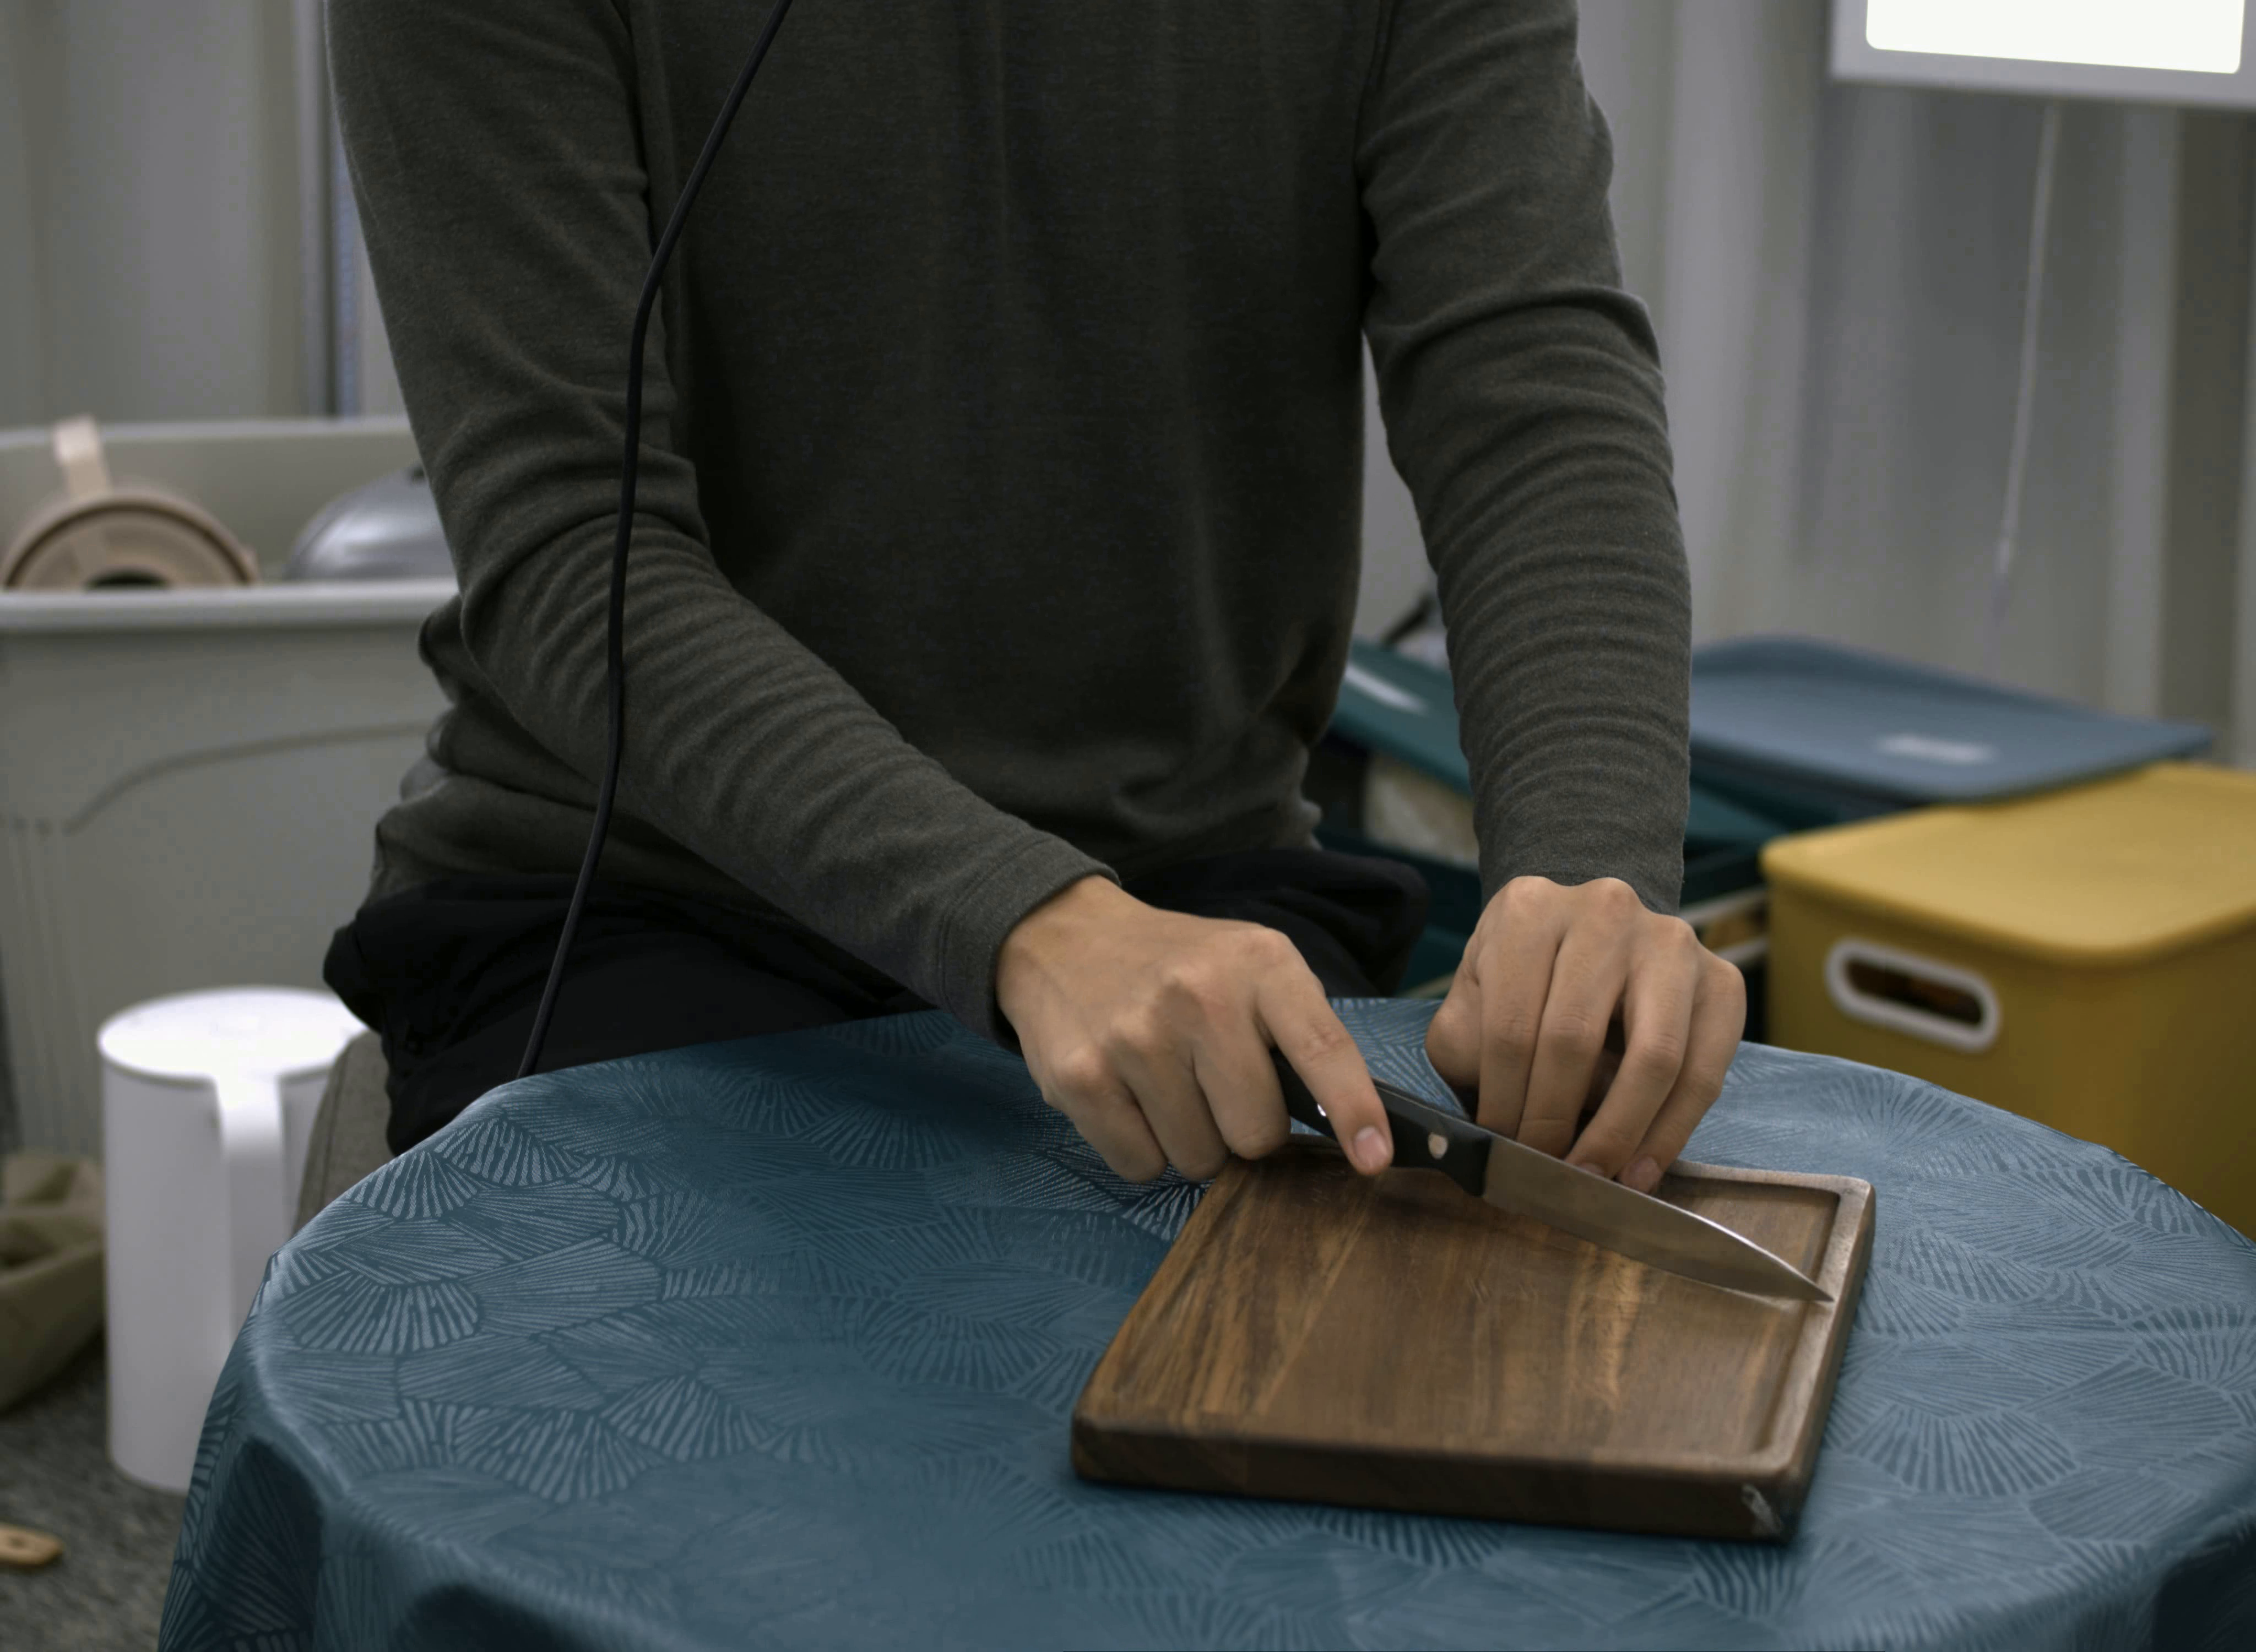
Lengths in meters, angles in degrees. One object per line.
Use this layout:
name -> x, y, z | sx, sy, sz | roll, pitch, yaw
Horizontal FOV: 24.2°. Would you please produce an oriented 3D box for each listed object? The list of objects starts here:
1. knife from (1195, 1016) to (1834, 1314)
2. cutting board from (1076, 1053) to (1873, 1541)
knife -> 0.111, 0.099, 1.546 | 0.235, 0.024, 0.016 | 22, 28, 37
cutting board -> 0.115, 0.127, 1.538 | 0.199, 0.023, 0.351 | 4, 15, 11
